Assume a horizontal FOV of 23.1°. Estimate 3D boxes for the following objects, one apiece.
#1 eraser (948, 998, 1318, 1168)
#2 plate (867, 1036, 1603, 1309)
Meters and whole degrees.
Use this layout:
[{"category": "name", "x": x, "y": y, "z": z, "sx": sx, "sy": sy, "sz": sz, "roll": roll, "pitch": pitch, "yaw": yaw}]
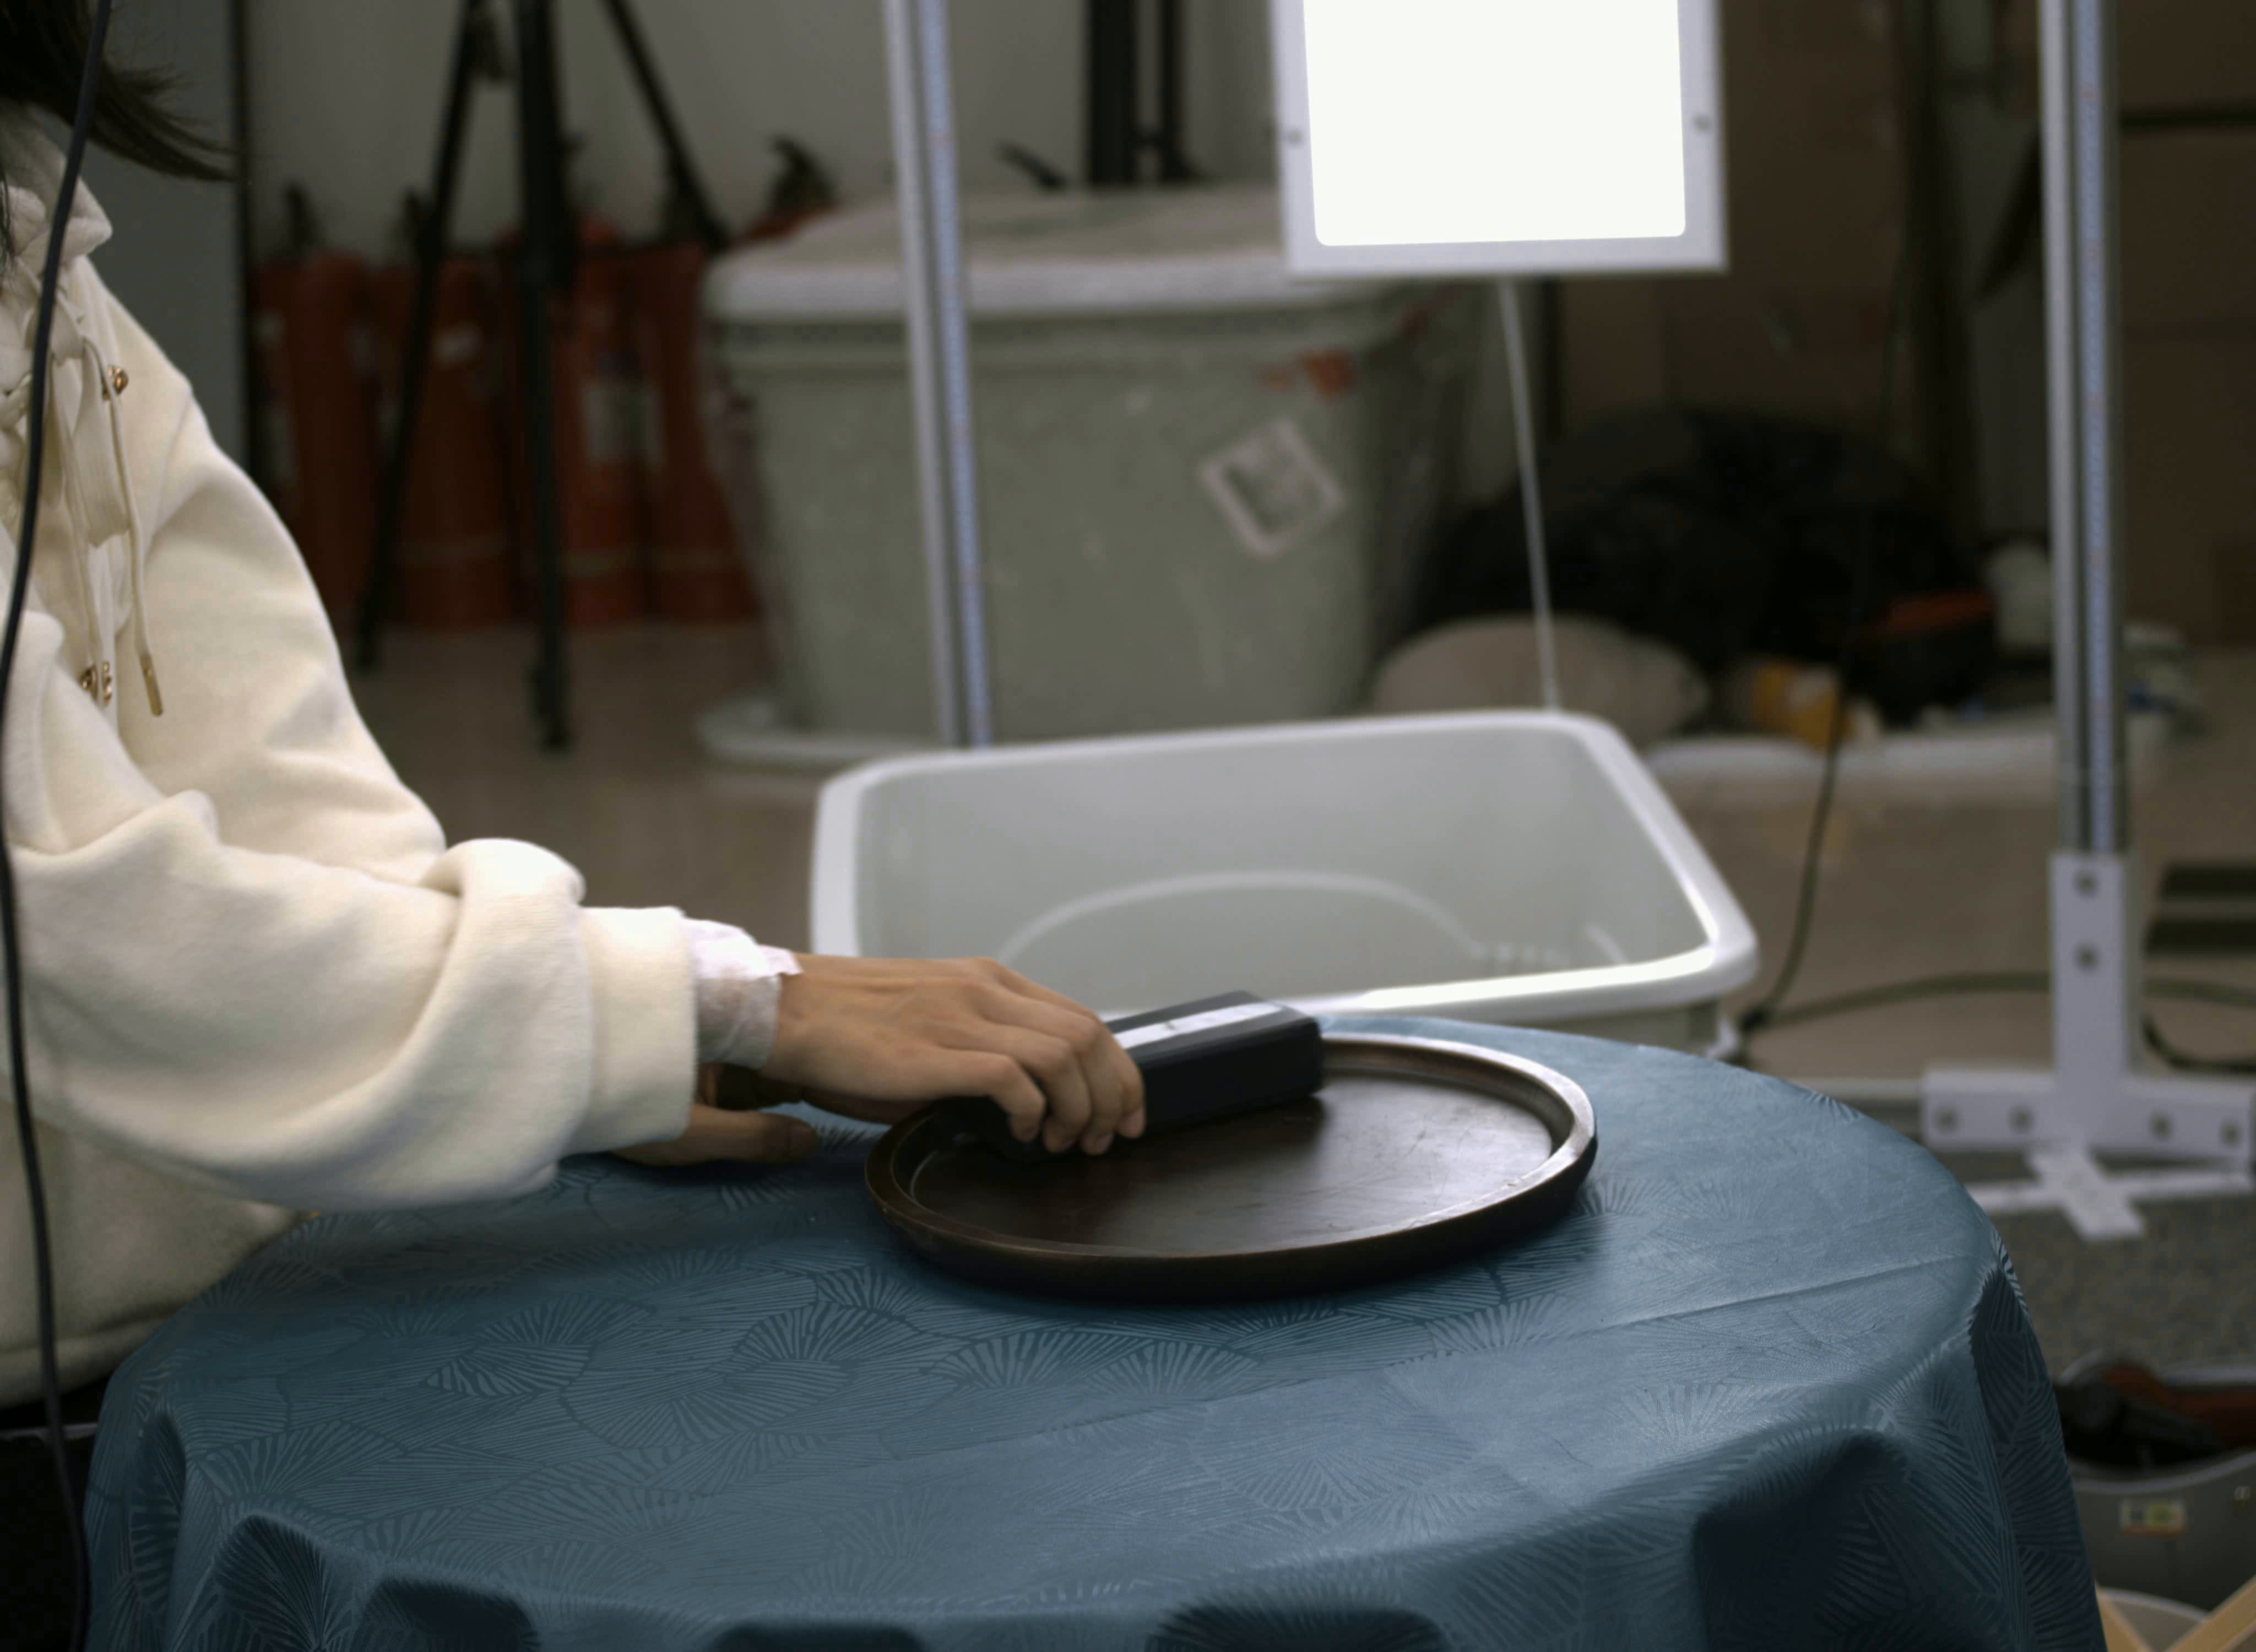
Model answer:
[{"category": "eraser", "x": 0.003, "y": 0.089, "z": 1.938, "sx": 0.123, "sy": 0.030, "sz": 0.054, "roll": -13, "pitch": 15, "yaw": -27}, {"category": "plate", "x": 0.036, "y": 0.116, "z": 1.880, "sx": 0.254, "sy": 0.029, "sz": 0.254, "roll": -4, "pitch": 14, "yaw": 0}]
